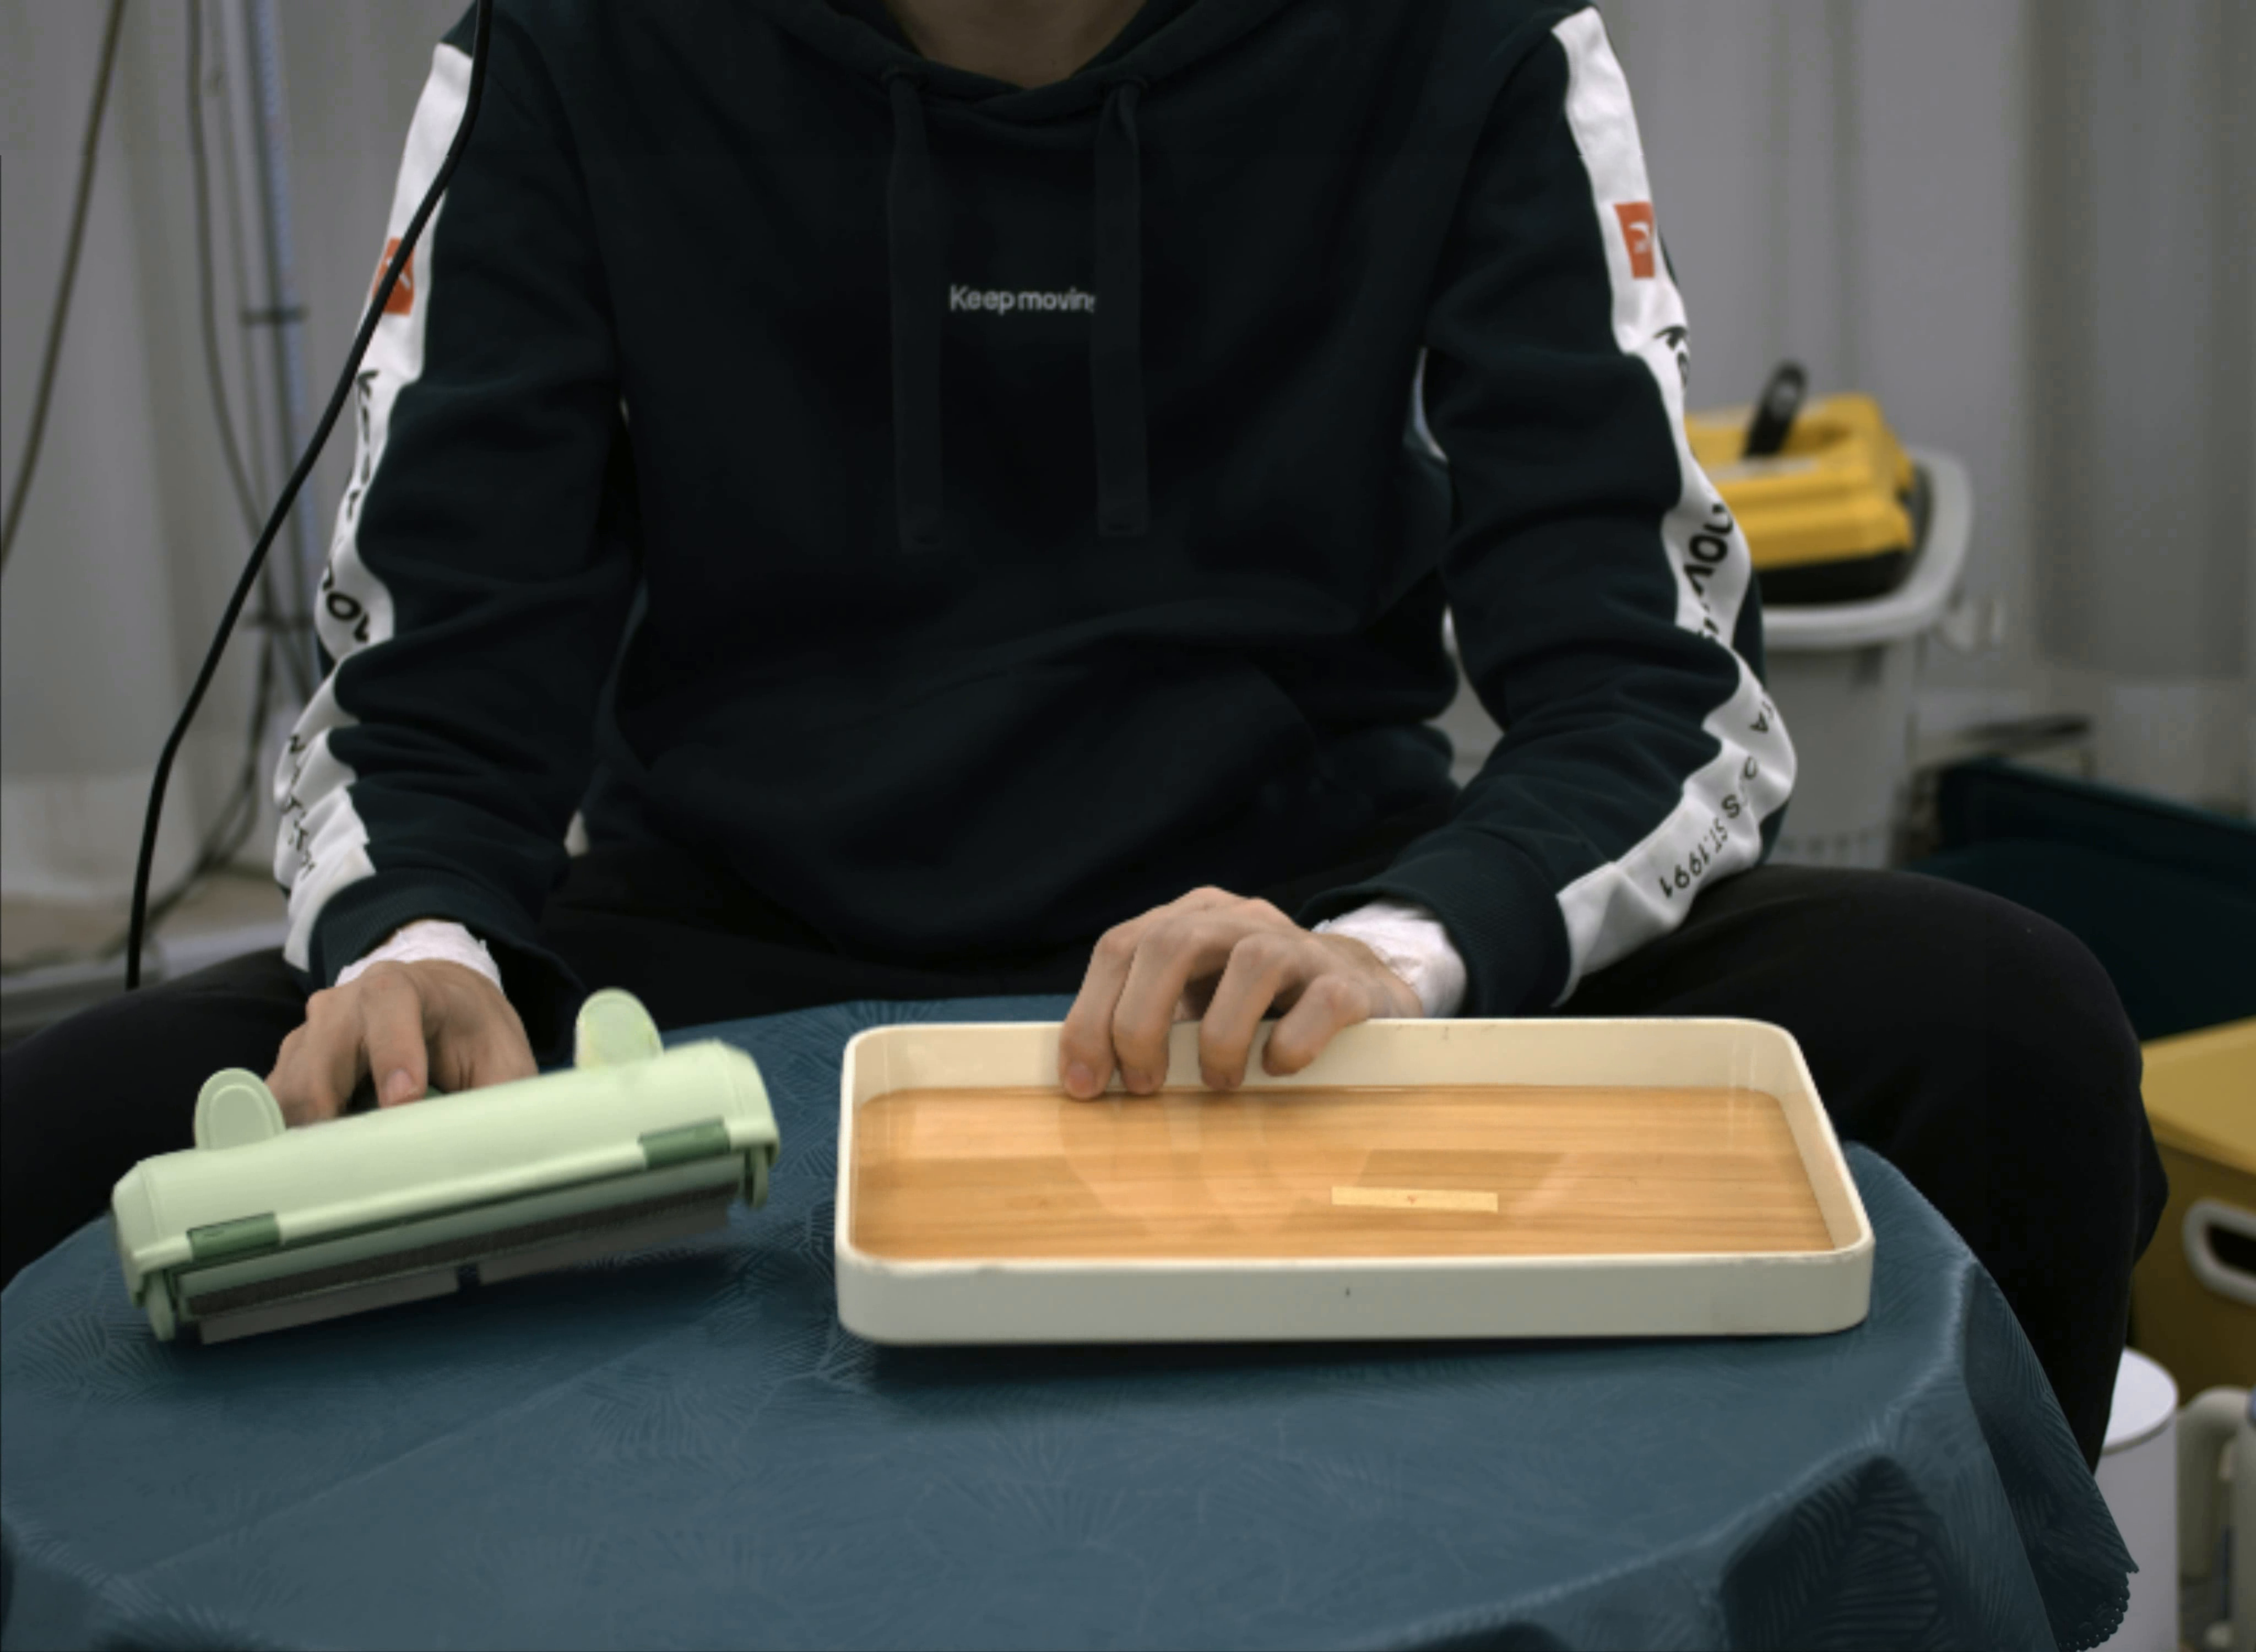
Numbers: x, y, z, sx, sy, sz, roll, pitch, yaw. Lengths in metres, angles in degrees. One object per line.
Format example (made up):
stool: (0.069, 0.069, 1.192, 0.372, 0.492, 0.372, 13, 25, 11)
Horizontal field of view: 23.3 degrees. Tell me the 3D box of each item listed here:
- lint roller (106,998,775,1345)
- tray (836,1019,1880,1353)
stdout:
lint roller: (-0.221, 0.089, 1.688, 0.198, 0.082, 0.185, -11, 19, -14)
tray: (0.063, 0.106, 1.637, 0.299, 0.027, 0.193, -1, 19, -1)
